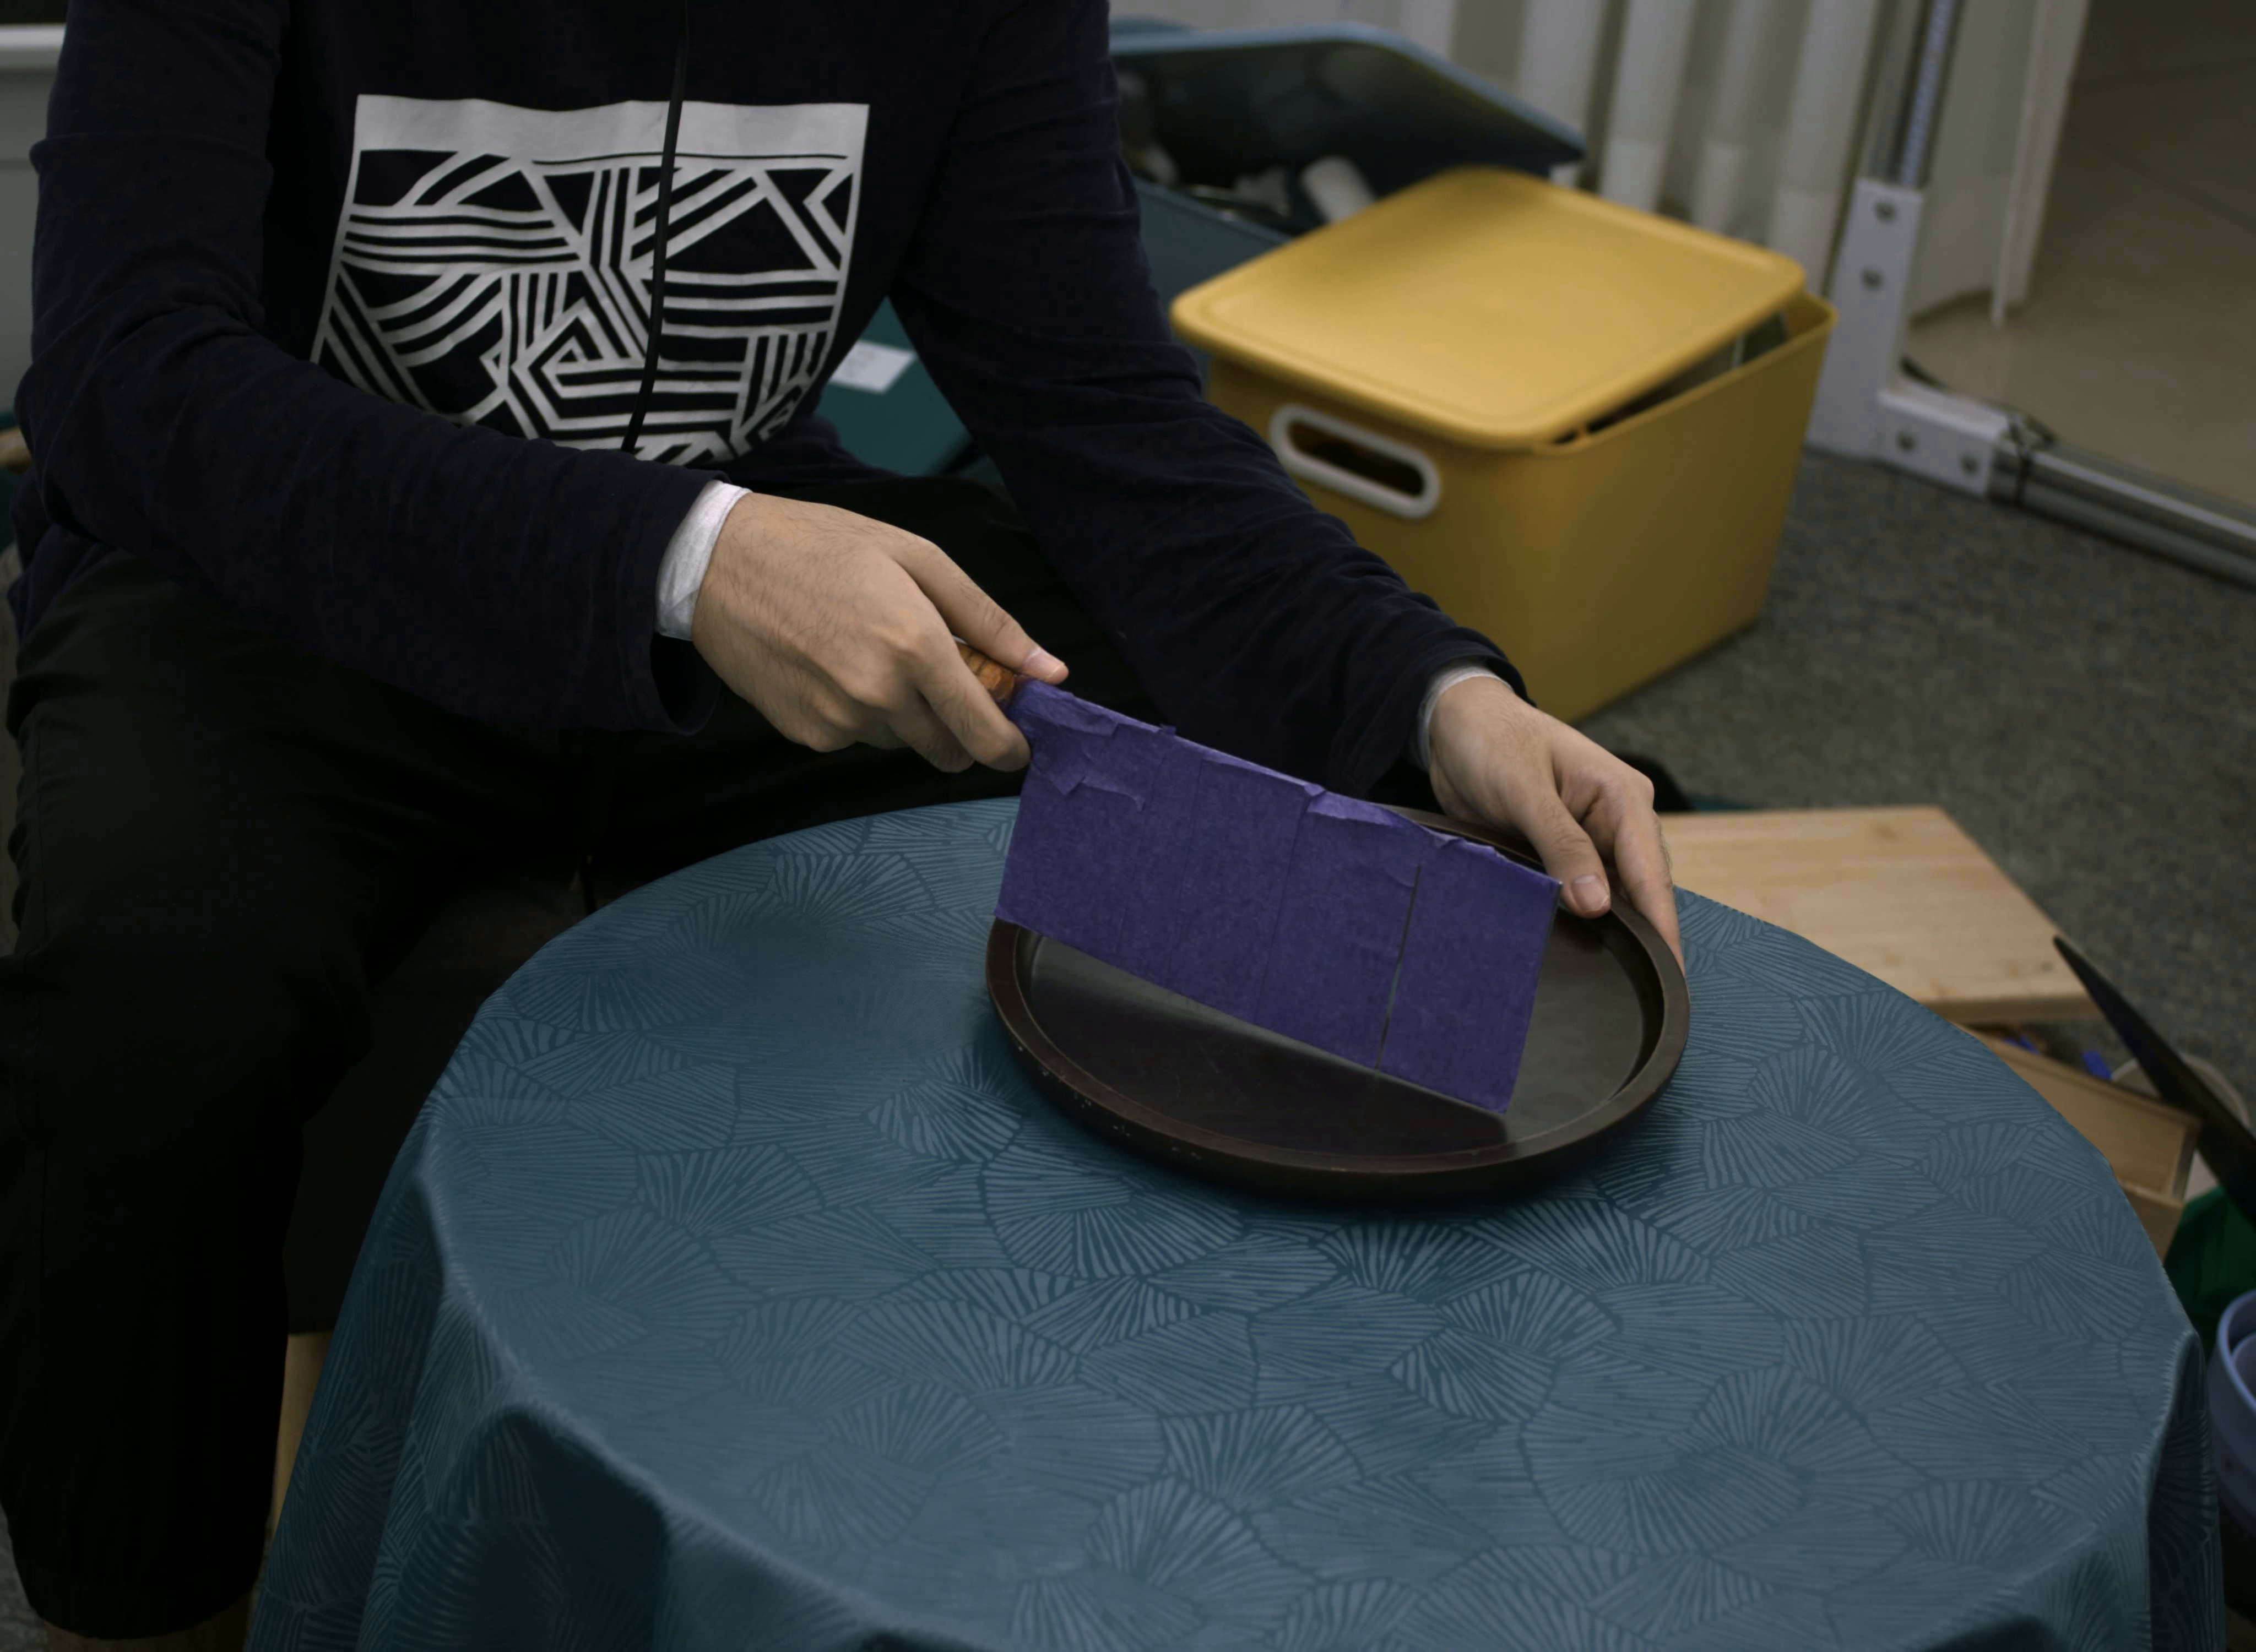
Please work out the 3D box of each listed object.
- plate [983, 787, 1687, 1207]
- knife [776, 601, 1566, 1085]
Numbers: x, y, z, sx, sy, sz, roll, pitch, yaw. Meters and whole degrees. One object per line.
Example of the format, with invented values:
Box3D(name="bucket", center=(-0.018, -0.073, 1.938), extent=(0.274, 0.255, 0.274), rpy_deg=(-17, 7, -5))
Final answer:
Box3D(name="plate", center=(0.073, 0.061, 1.903), extent=(0.254, 0.029, 0.256), rpy_deg=(2, 30, -1))
Box3D(name="knife", center=(0.005, 0.008, 1.883), extent=(0.317, 0.104, 0.032), rpy_deg=(21, 17, 26))
